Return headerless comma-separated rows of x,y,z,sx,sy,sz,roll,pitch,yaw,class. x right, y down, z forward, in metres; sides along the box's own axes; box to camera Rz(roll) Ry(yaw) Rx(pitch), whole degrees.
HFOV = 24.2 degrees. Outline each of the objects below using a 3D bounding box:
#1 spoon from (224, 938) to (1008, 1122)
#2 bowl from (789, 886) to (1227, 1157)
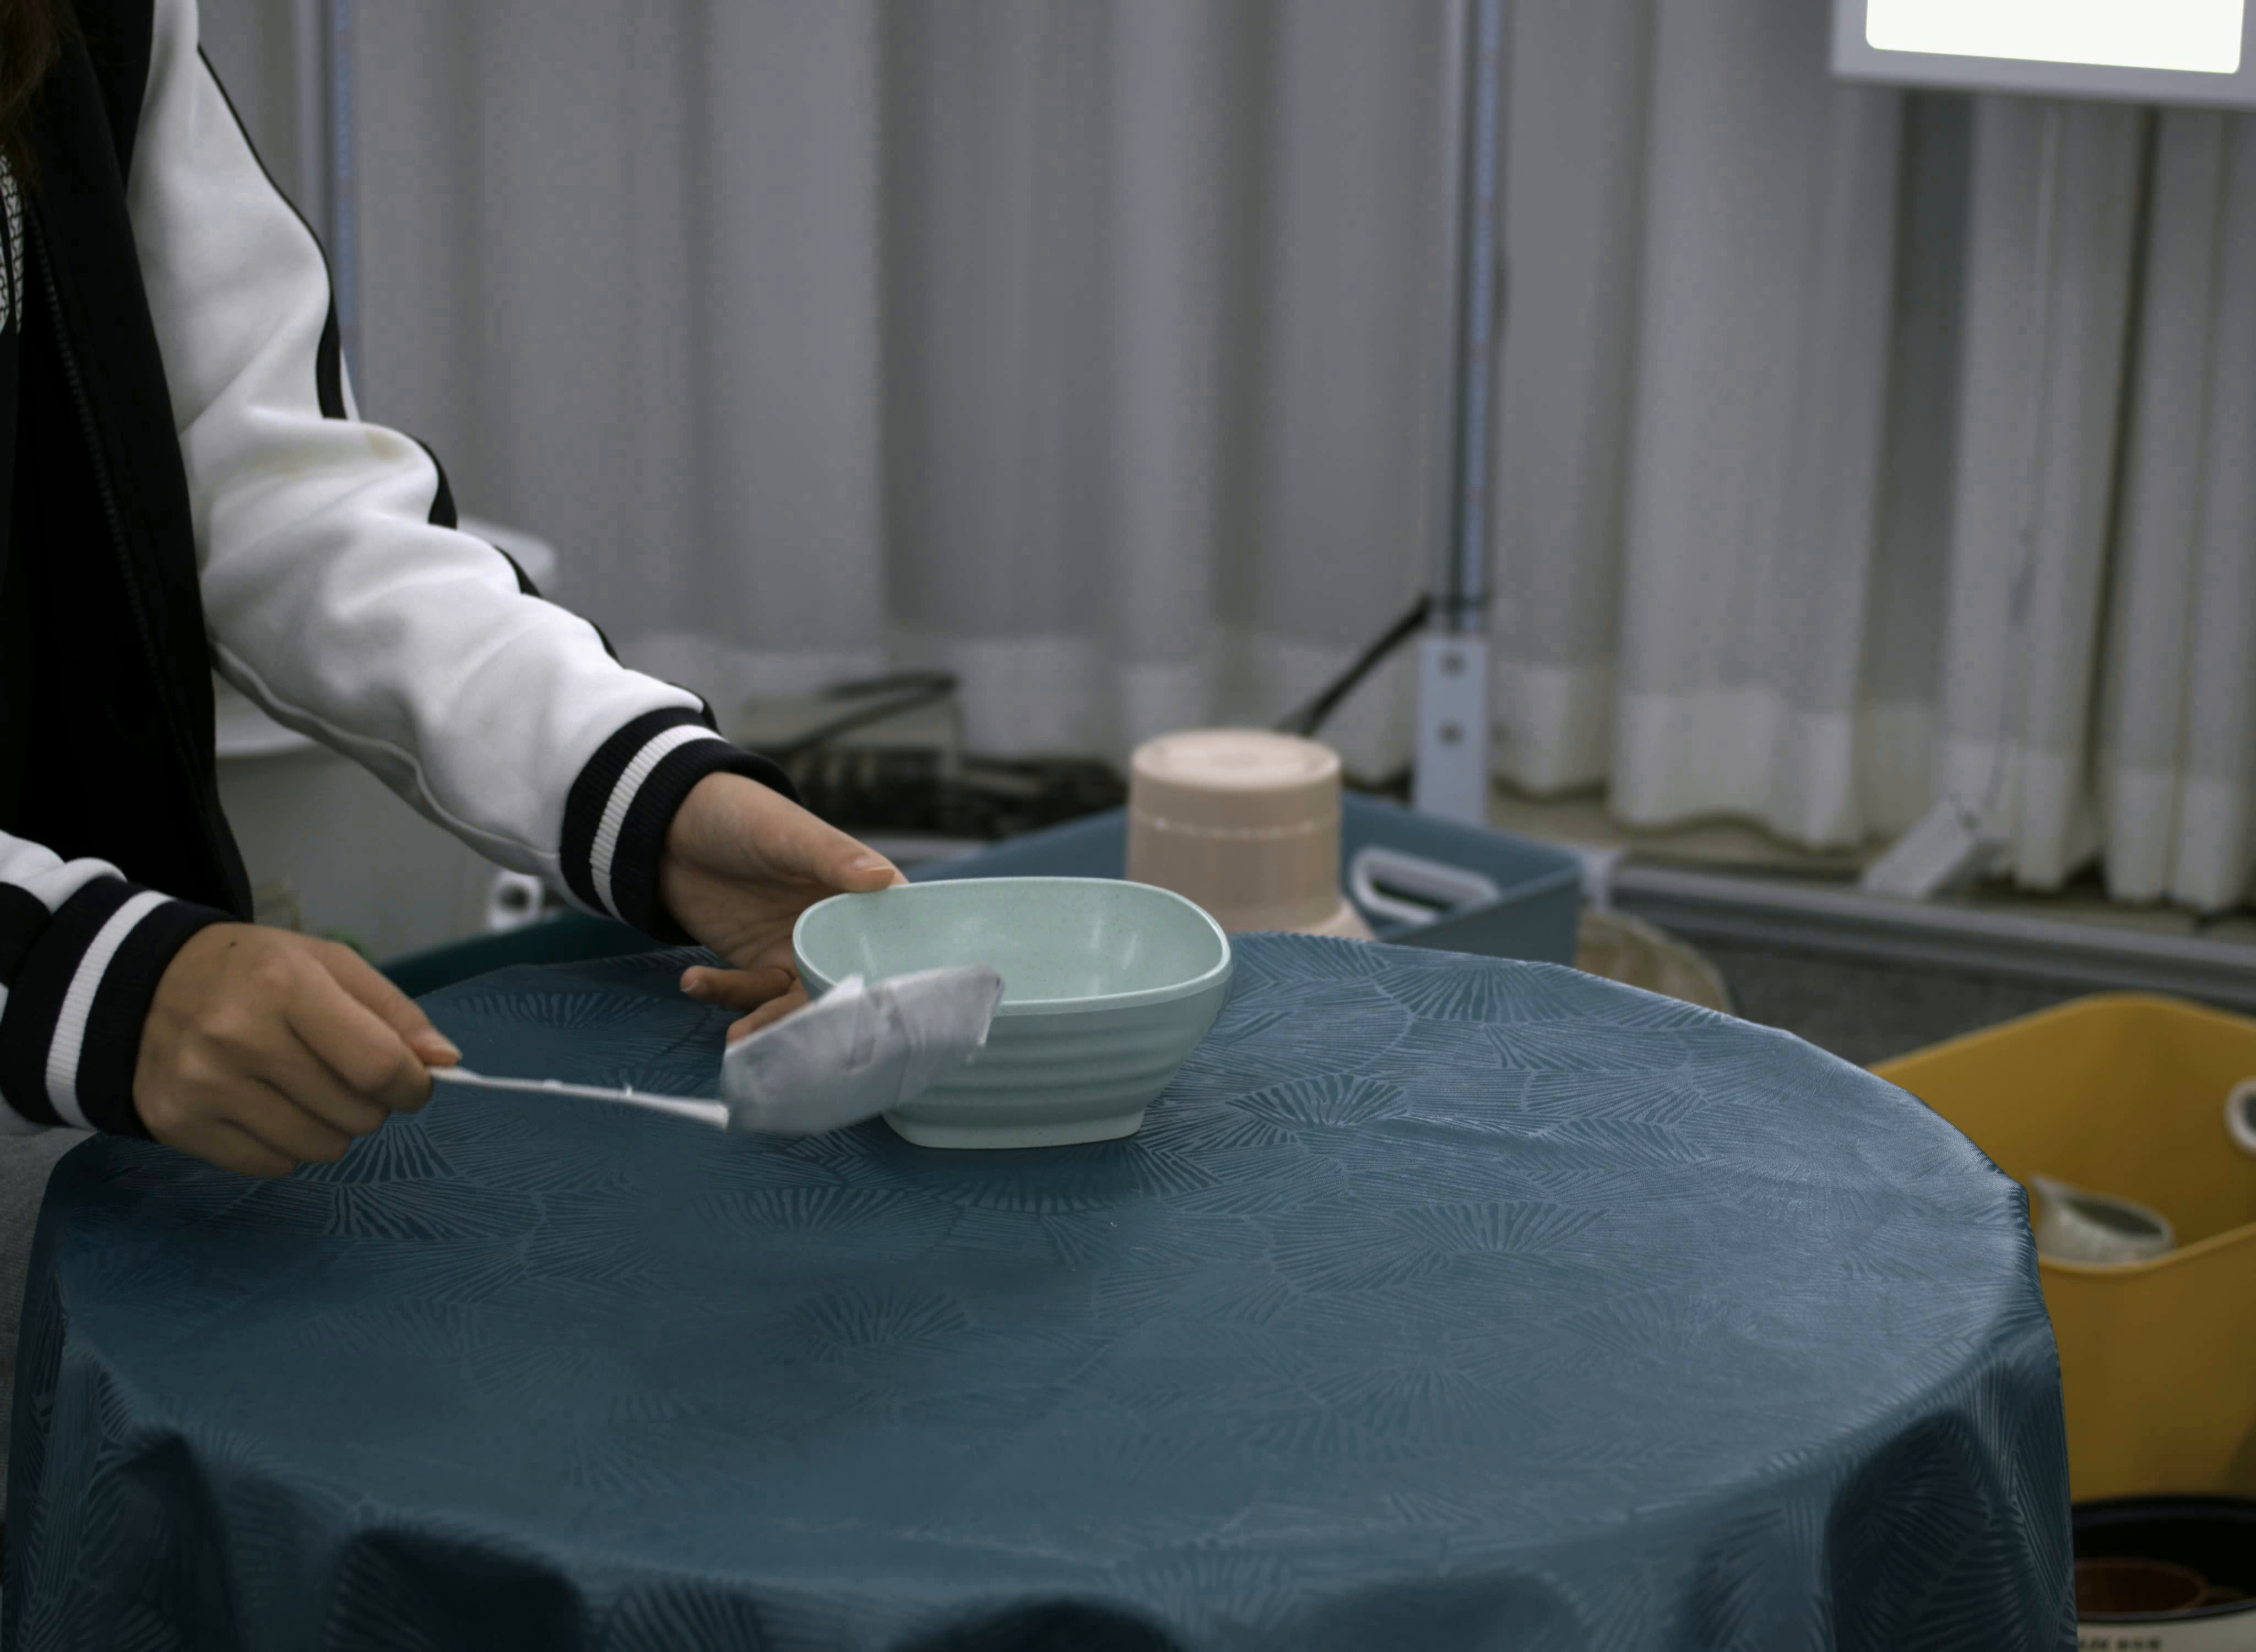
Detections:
-0.157,0.050,1.549,0.274,0.059,0.101,6,-4,34,spoon
-0.038,0.066,1.690,0.151,0.059,0.150,1,15,0,bowl
